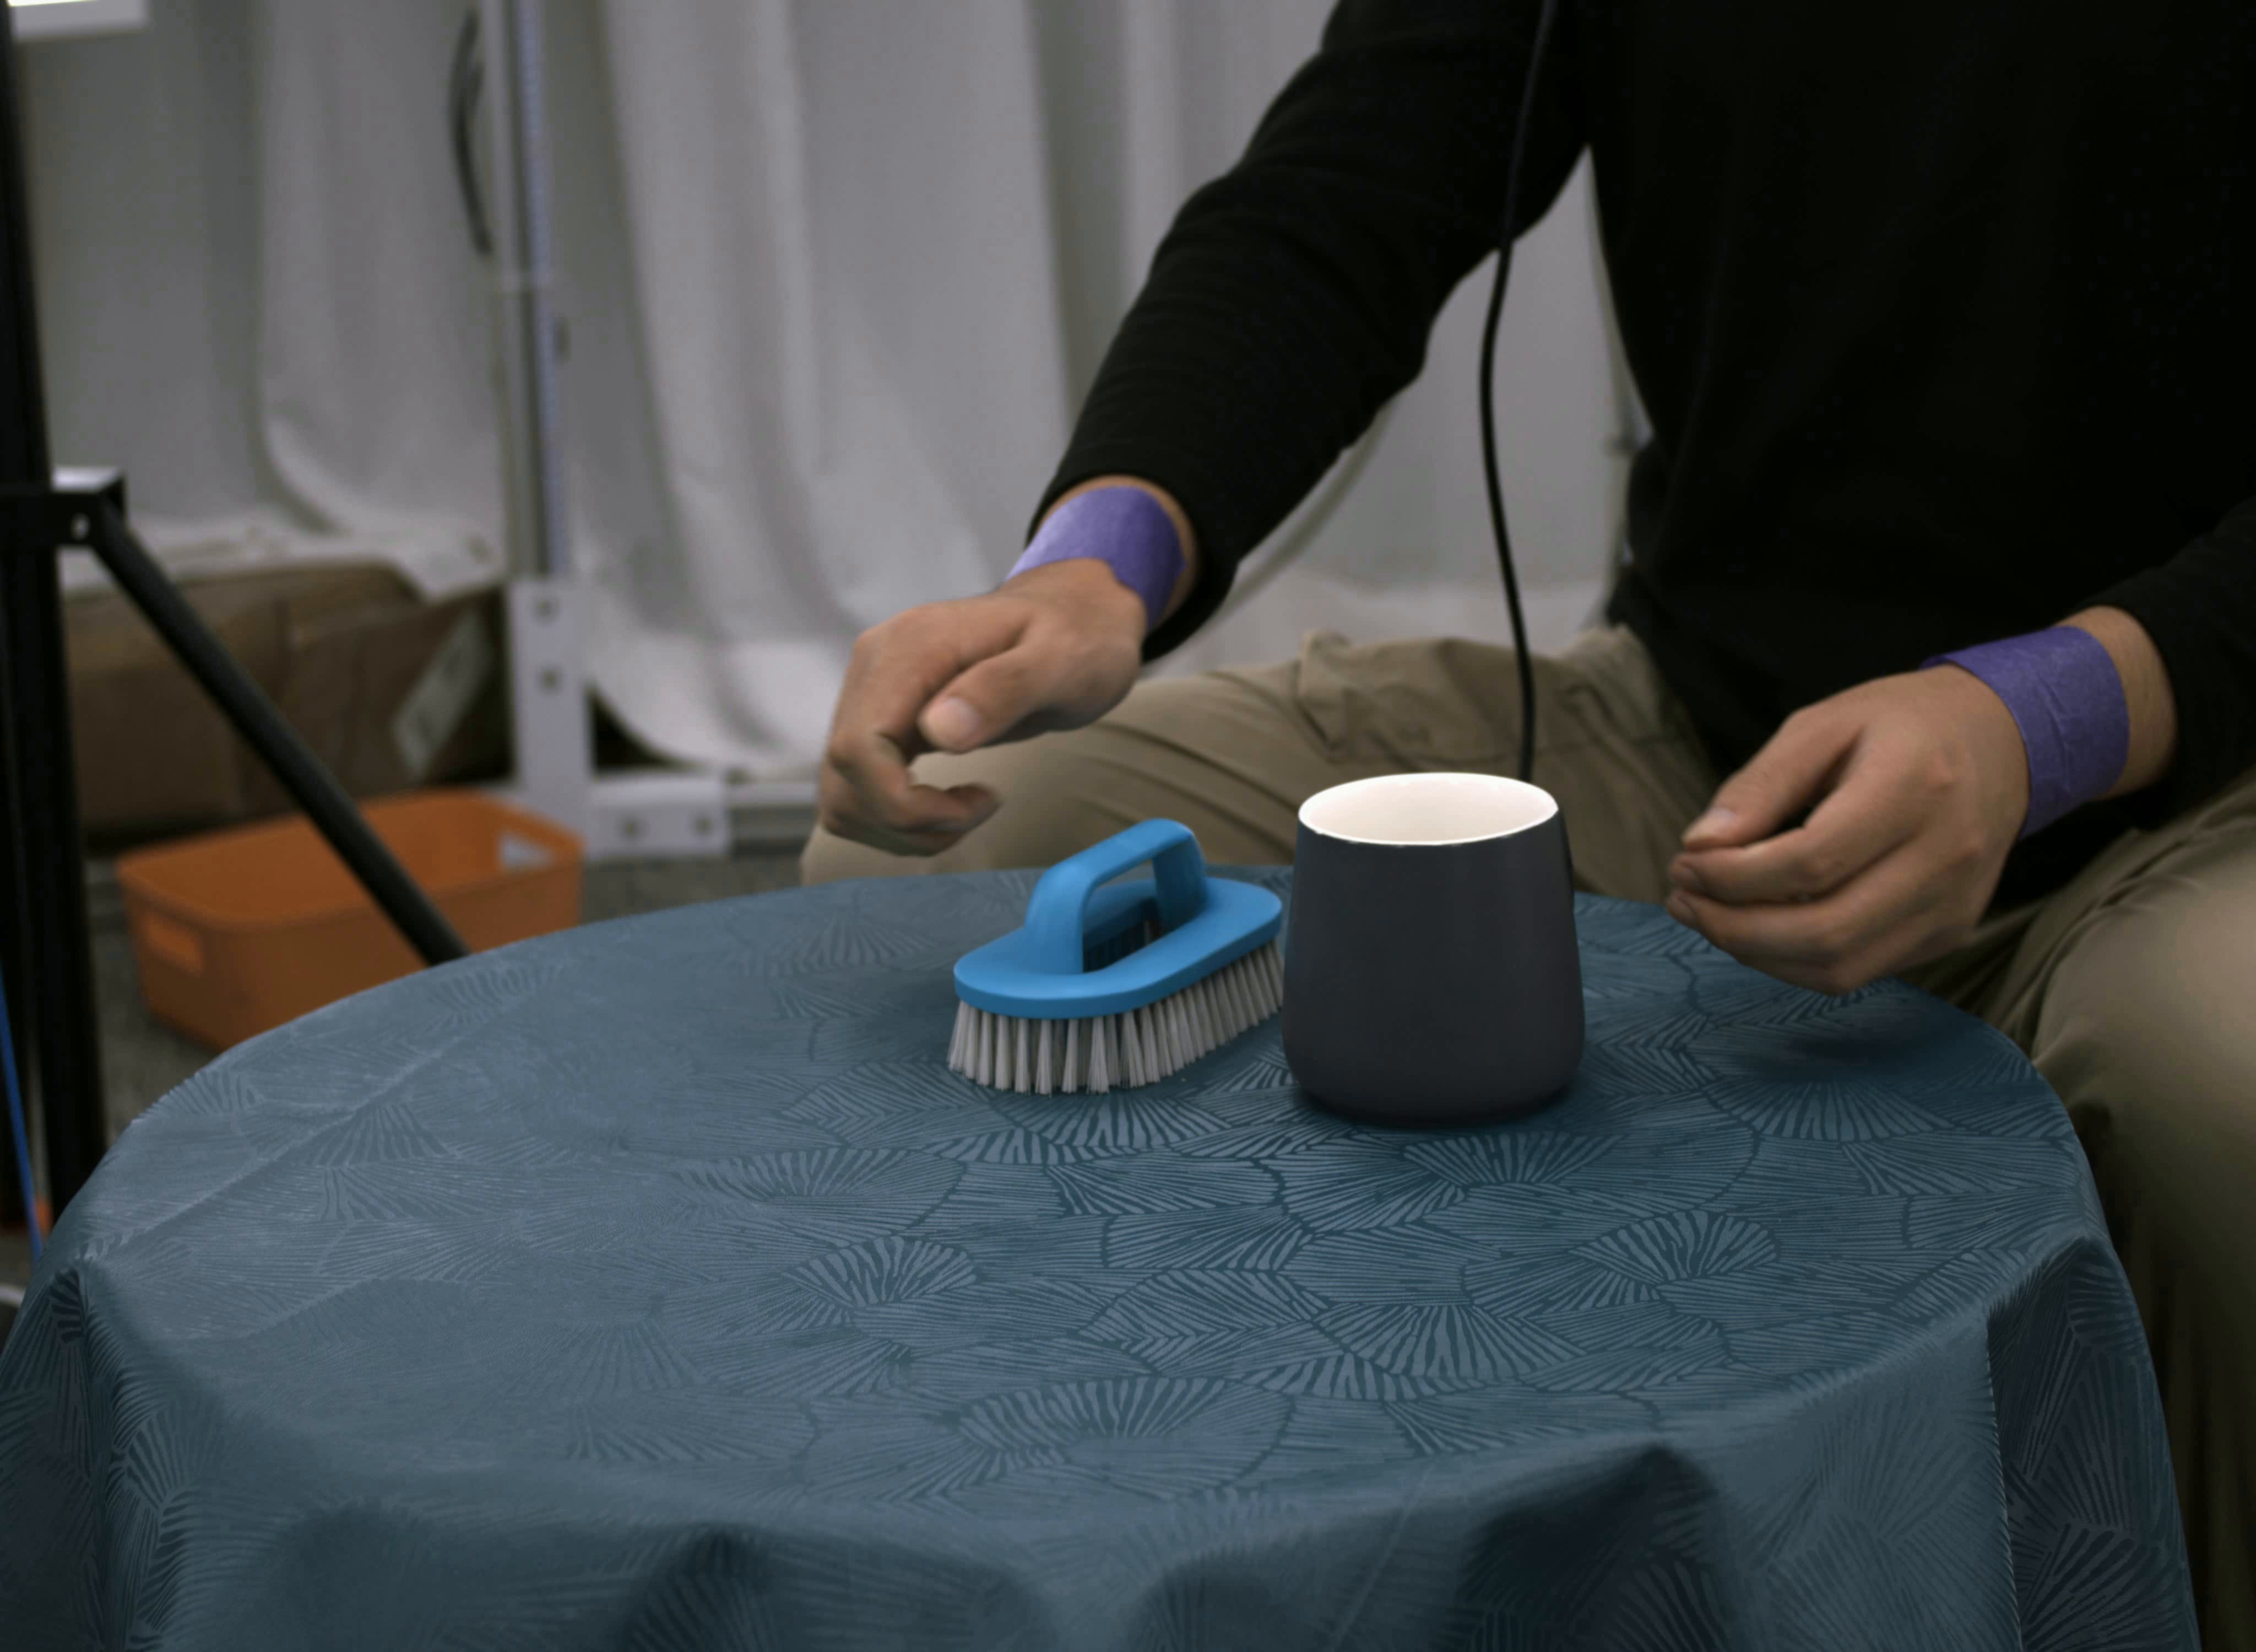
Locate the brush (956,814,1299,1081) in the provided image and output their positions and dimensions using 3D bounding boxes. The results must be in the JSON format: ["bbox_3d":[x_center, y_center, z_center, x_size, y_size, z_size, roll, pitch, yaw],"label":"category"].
[{"bbox_3d":[0.000,0.034,1.700,0.086,0.064,0.139,2,15,33],"label":"brush"}]

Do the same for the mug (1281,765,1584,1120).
[{"bbox_3d":[0.102,0.032,1.637,0.095,0.090,0.121,11,22,37],"label":"mug"}]
